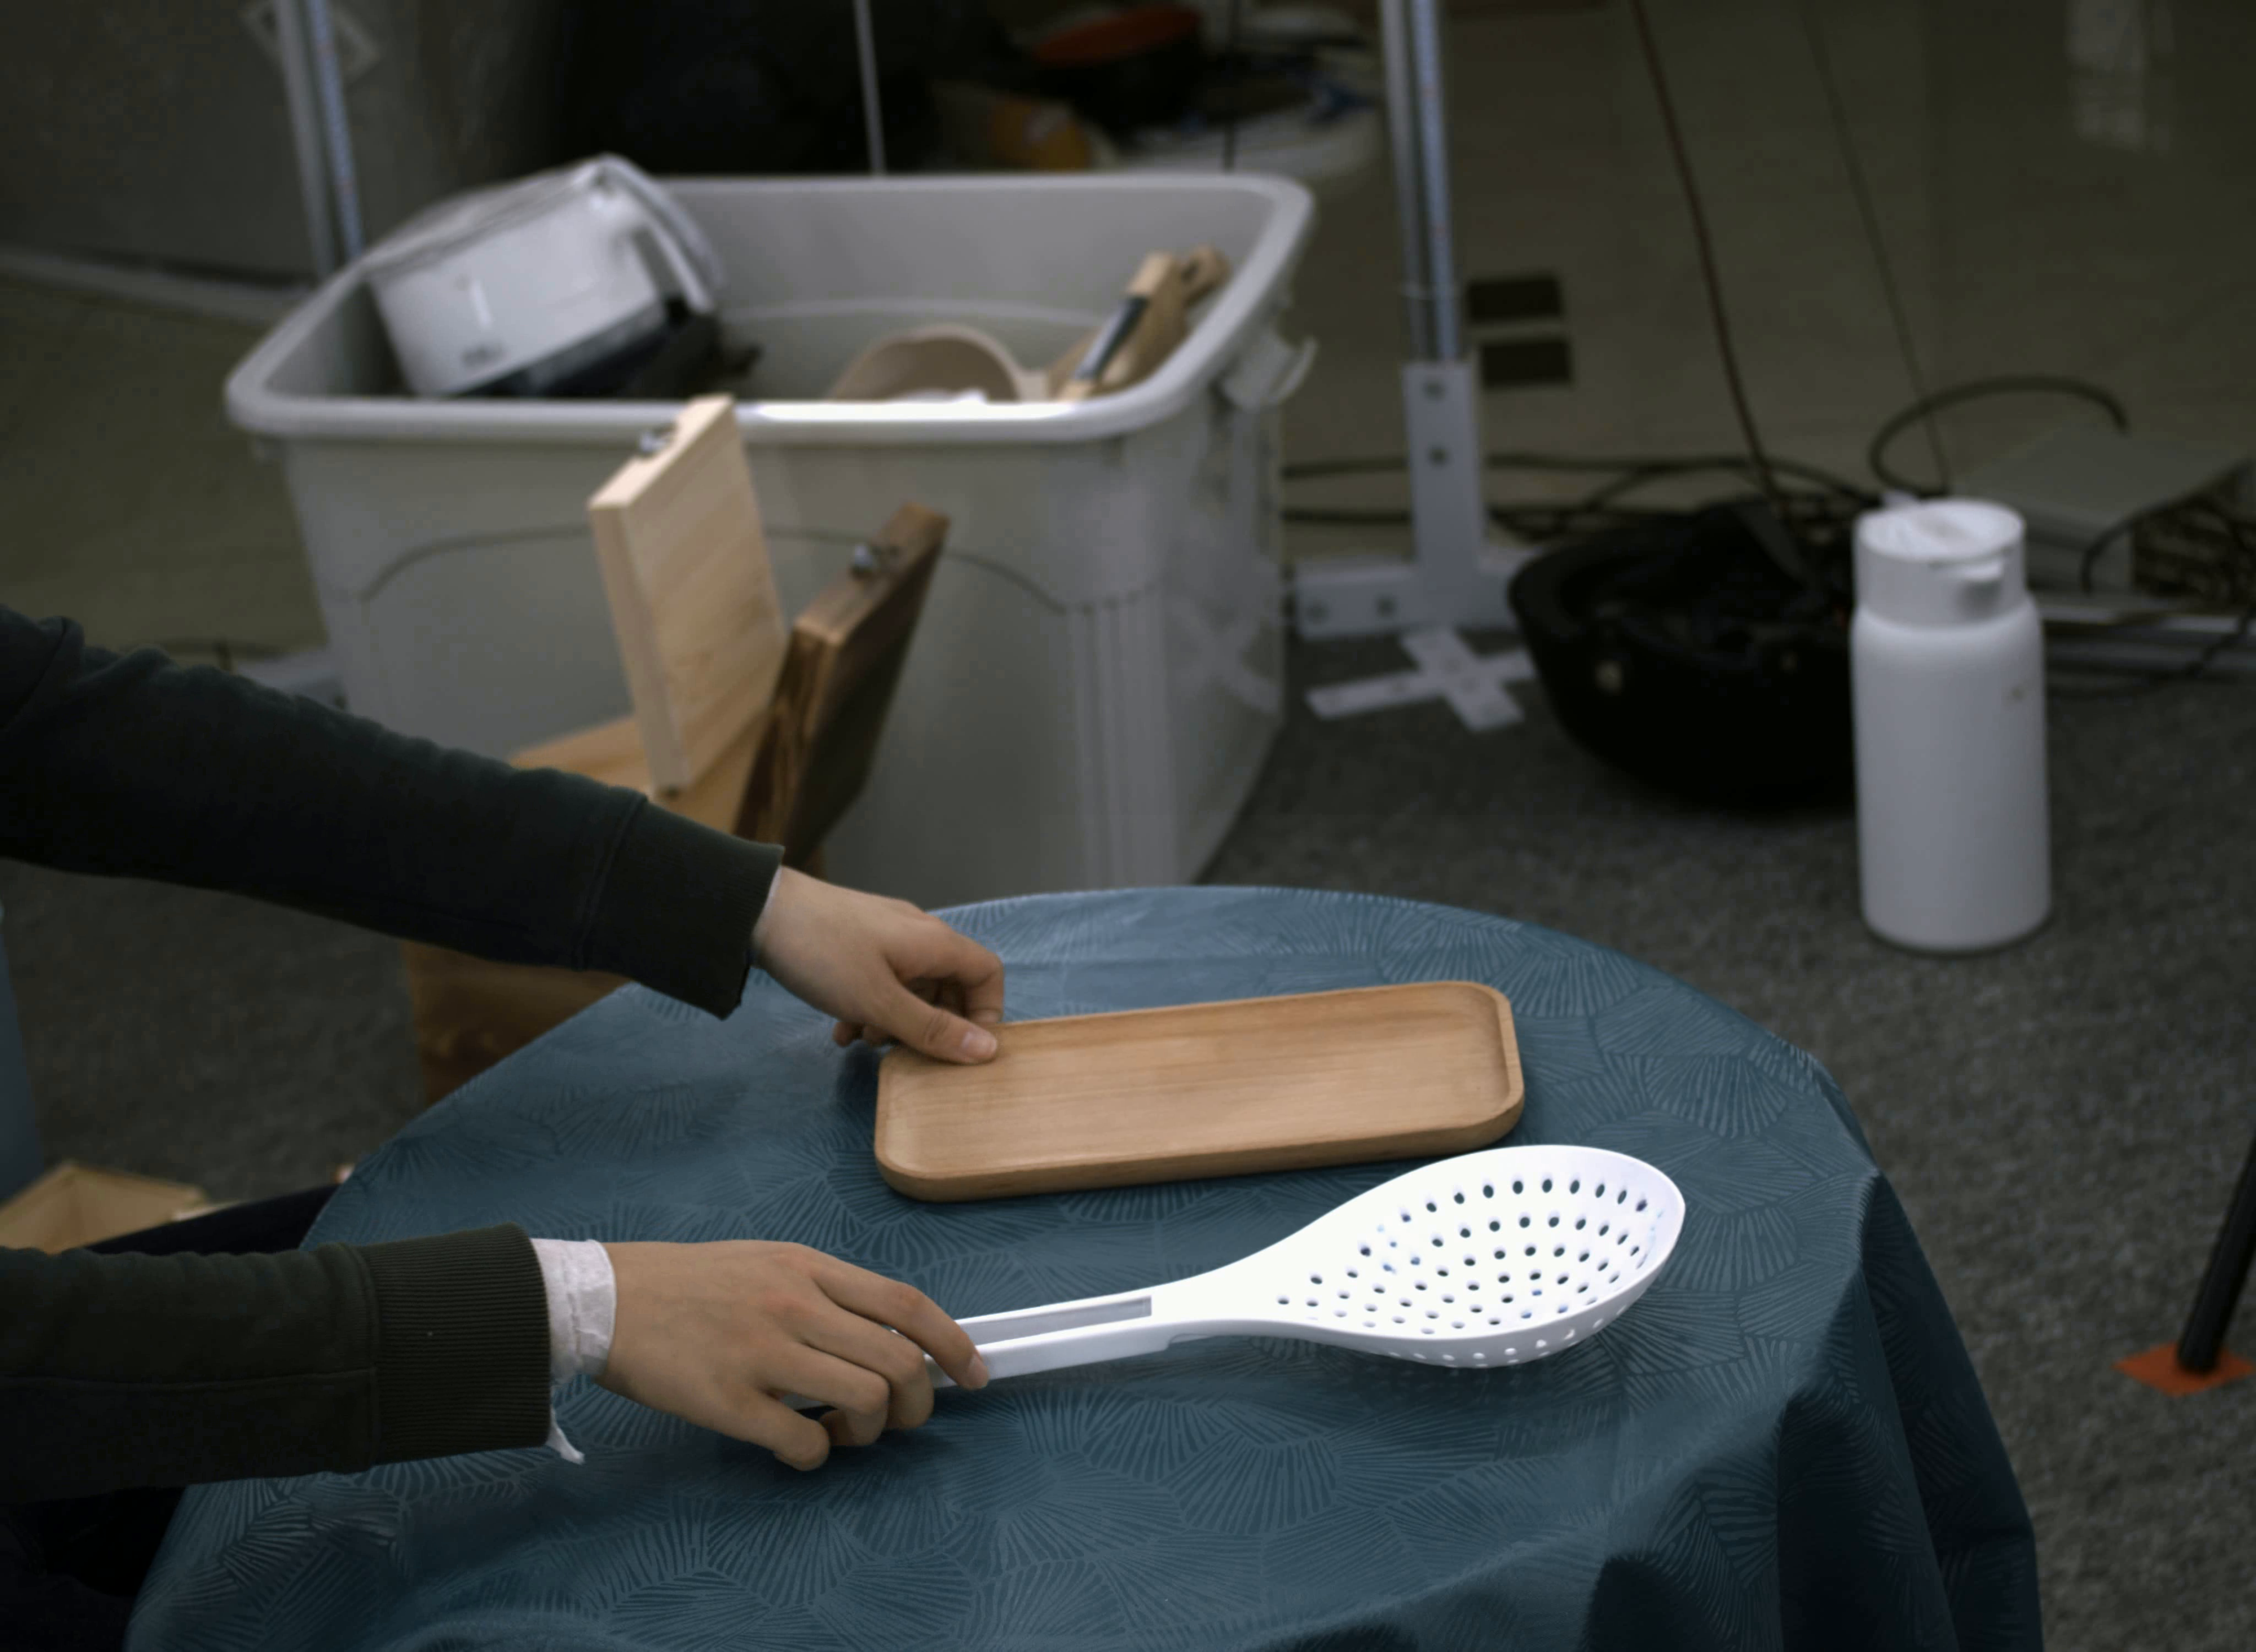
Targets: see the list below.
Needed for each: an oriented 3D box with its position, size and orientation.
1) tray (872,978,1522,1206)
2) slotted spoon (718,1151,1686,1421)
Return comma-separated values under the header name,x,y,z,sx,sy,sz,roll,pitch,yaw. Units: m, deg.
name,x,y,z,sx,sy,sz,roll,pitch,yaw
tray,0.026,0.104,2.203,0.250,0.023,0.129,-6,23,3
slotted spoon,0.025,0.173,2.020,0.349,0.046,0.134,-6,23,3
